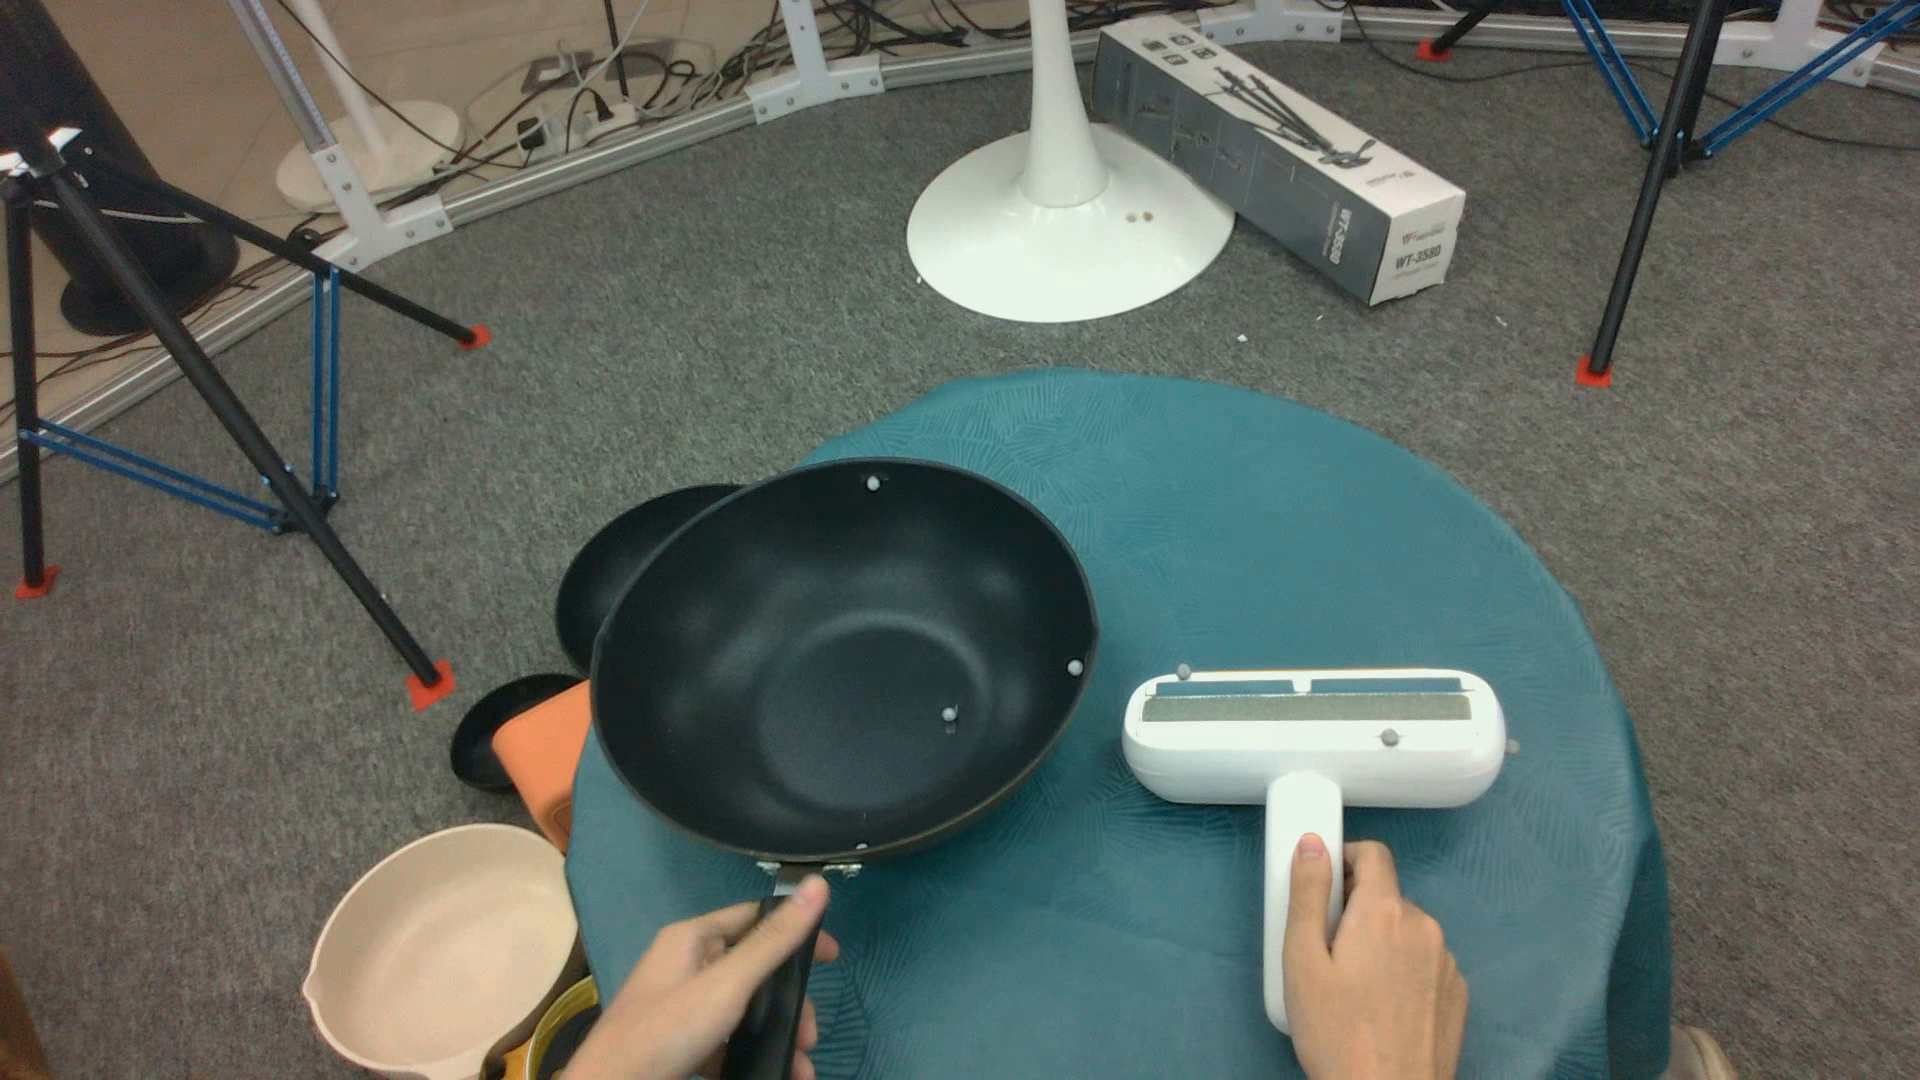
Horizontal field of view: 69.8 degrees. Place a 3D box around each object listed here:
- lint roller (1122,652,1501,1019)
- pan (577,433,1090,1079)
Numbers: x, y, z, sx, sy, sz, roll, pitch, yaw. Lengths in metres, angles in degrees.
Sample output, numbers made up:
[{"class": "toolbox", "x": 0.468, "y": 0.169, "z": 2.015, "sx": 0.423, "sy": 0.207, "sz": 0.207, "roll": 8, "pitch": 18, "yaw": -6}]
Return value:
[{"class": "lint roller", "x": 0.168, "y": 0.140, "z": 0.691, "sx": 0.192, "sy": 0.074, "sz": 0.193, "roll": 3, "pitch": 45, "yaw": 19}, {"class": "pan", "x": -0.077, "y": 0.135, "z": 0.729, "sx": 0.288, "sy": 0.086, "sz": 0.465, "roll": 0, "pitch": 49, "yaw": 8}]
